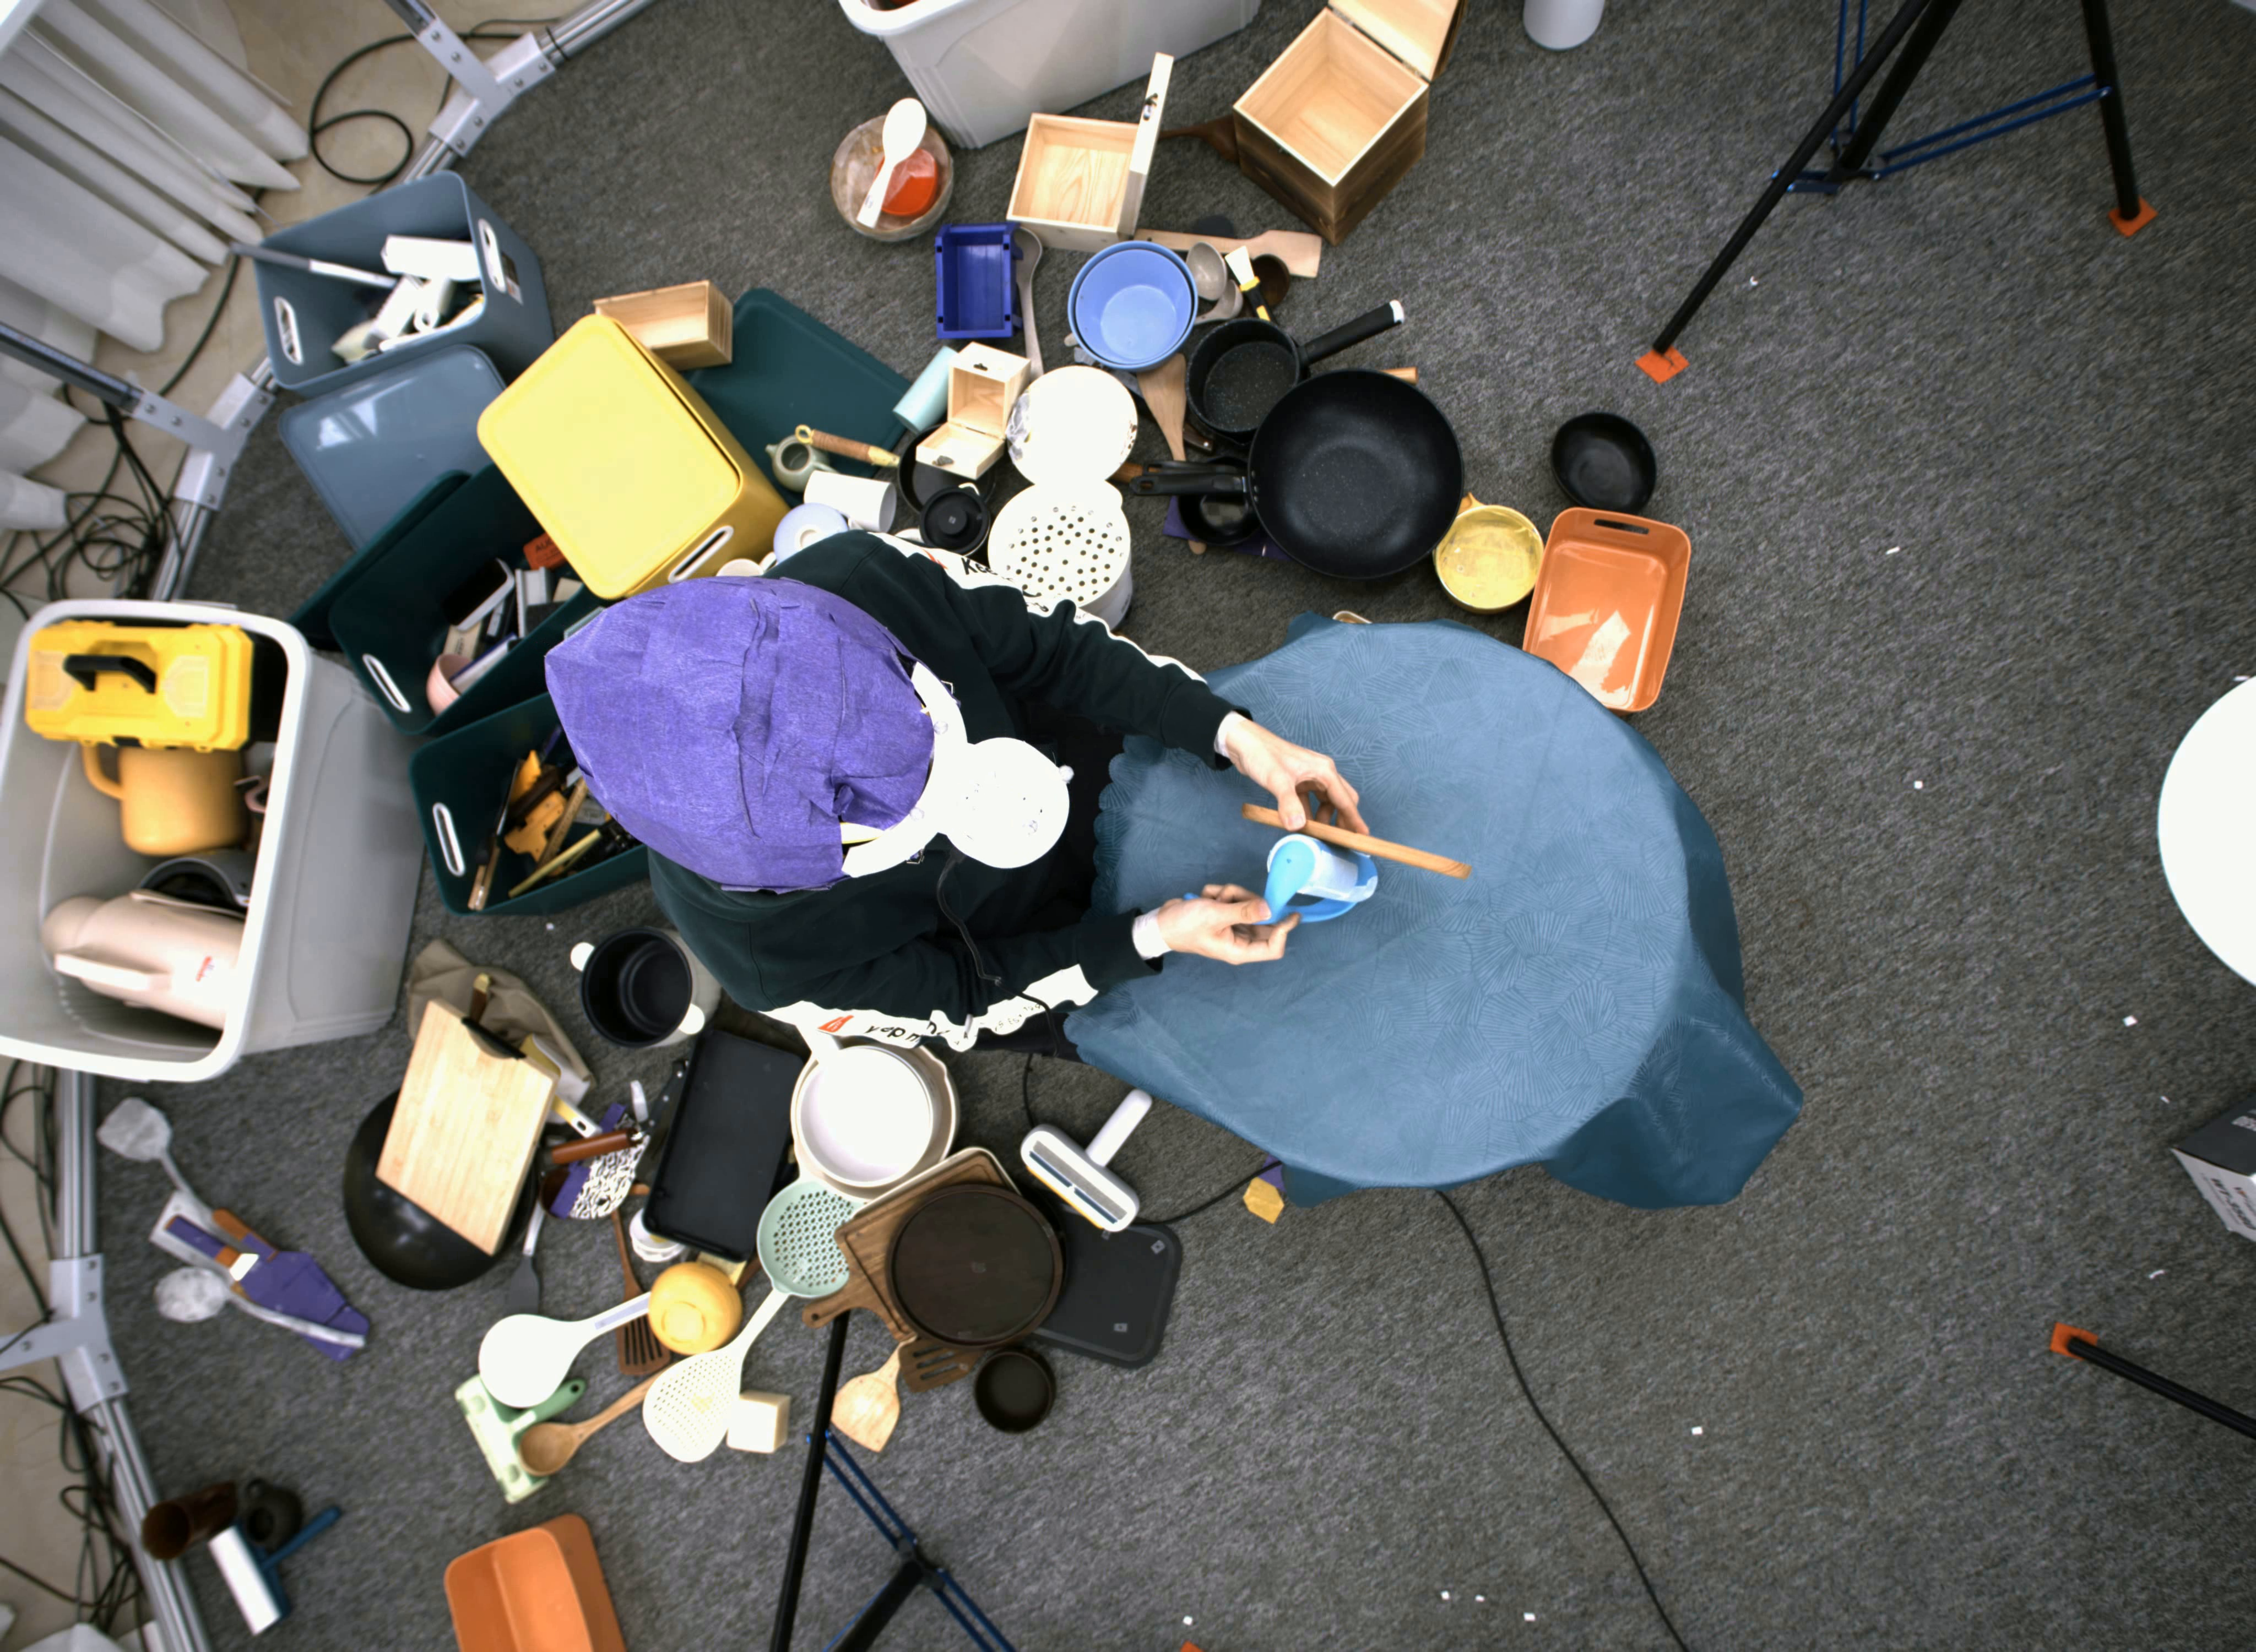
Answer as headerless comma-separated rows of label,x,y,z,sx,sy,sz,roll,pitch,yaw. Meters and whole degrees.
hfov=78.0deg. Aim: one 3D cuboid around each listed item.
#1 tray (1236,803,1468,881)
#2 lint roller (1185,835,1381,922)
tray,0.213,0.014,1.329,0.231,0.101,0.020,15,90,20
lint roller,0.146,0.065,1.382,0.183,0.228,0.067,-23,77,25
